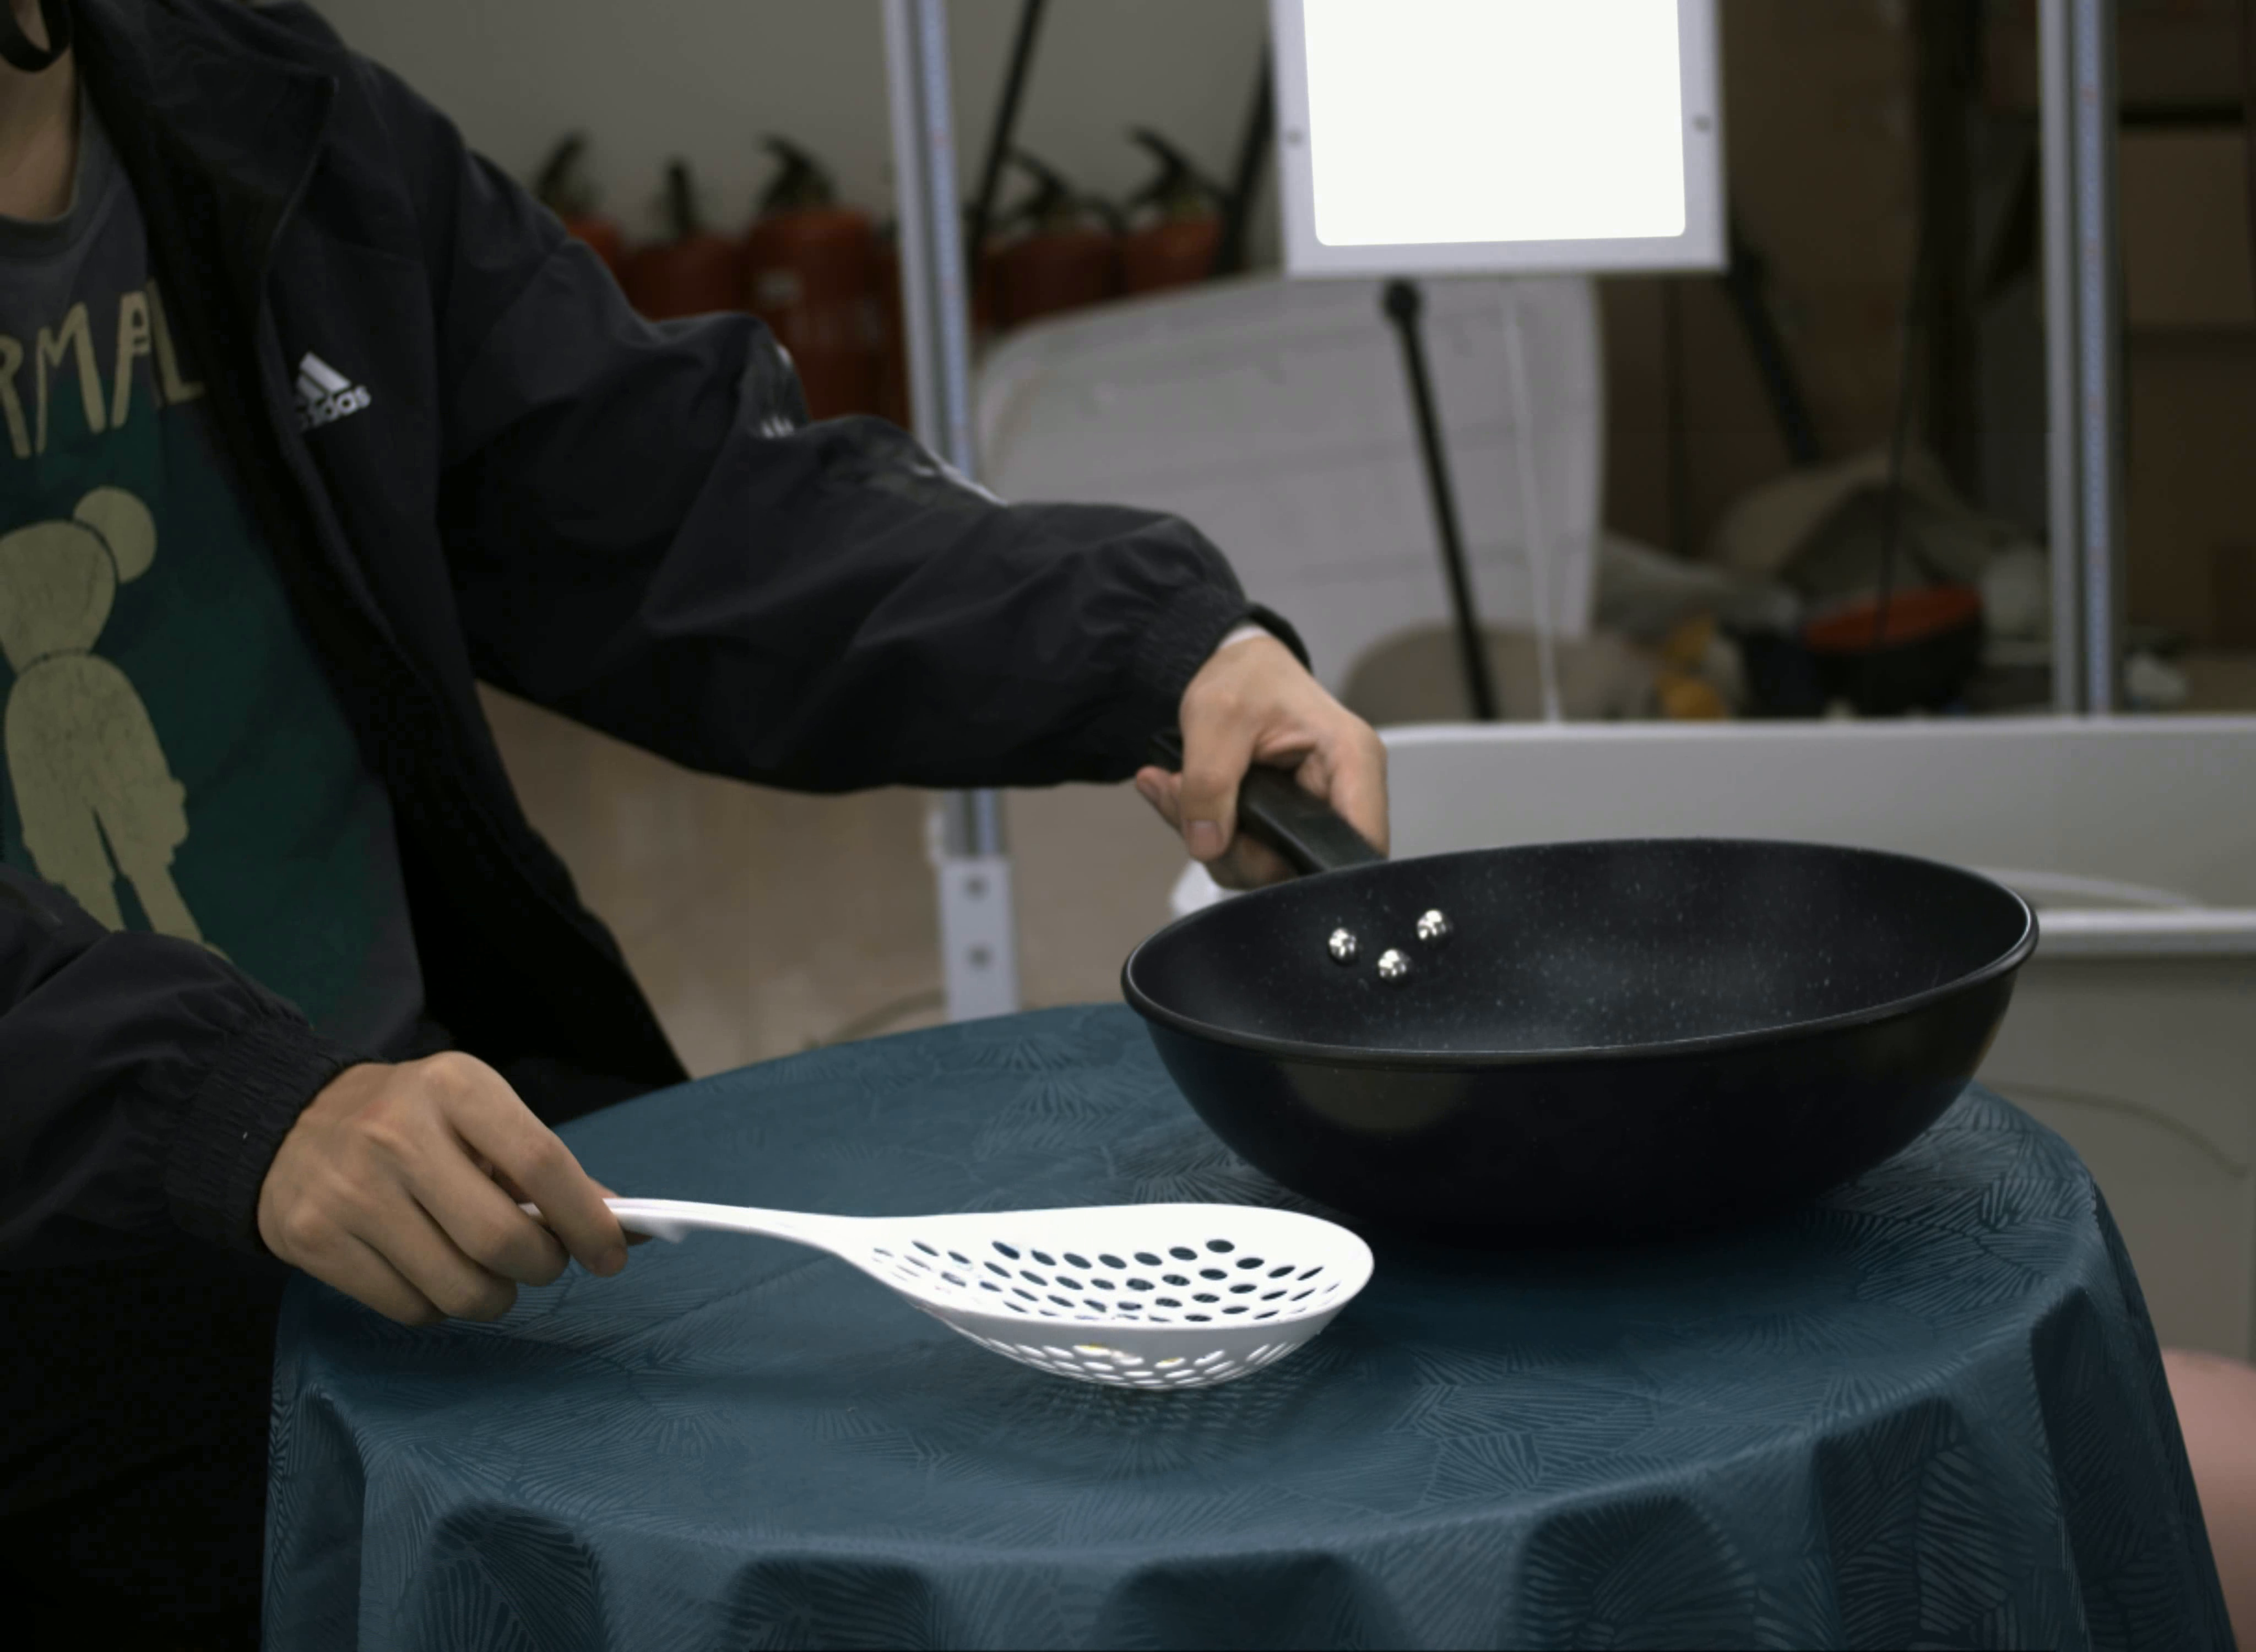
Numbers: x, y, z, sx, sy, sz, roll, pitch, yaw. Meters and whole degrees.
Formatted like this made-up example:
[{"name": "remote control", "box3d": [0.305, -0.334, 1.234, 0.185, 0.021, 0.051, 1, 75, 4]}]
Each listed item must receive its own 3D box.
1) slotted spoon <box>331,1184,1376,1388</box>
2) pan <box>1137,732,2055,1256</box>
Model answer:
[{"name": "slotted spoon", "box3d": [-0.092, 0.138, 1.739, 0.352, 0.050, 0.134, 7, 16, 22]}, {"name": "pan", "box3d": [0.123, 0.056, 1.919, 0.304, 0.112, 0.484, -8, 13, -23]}]
